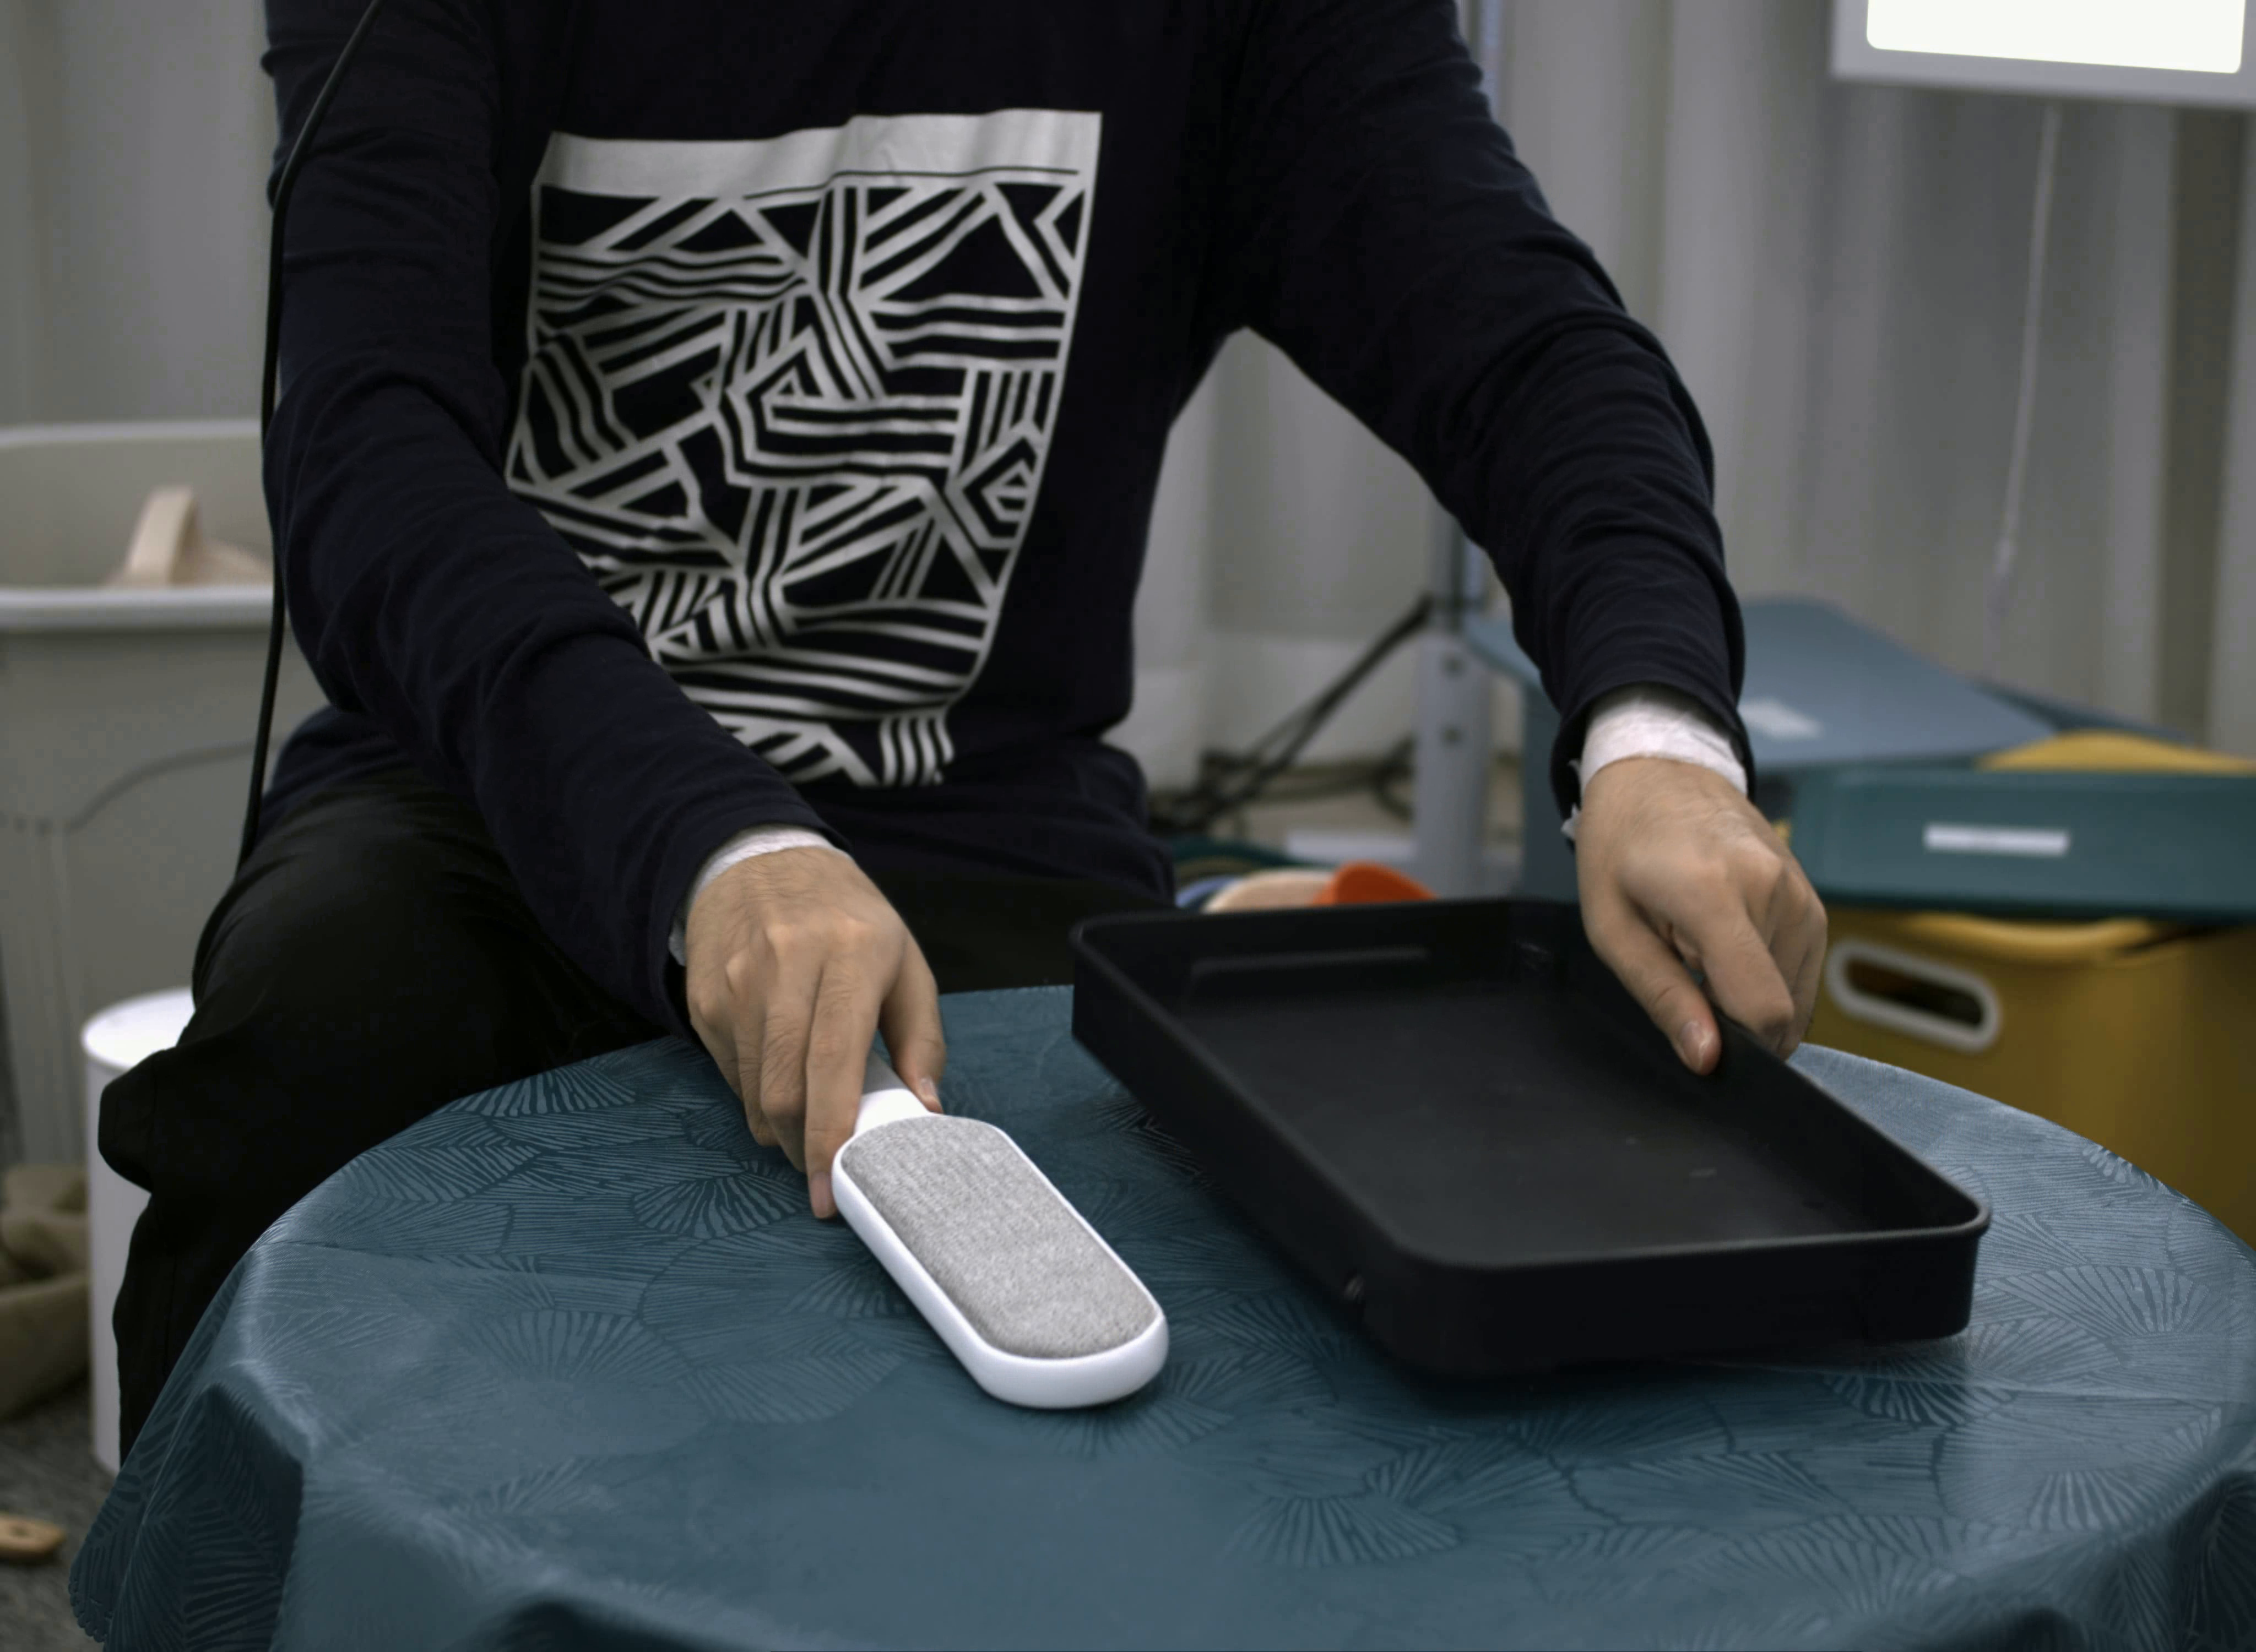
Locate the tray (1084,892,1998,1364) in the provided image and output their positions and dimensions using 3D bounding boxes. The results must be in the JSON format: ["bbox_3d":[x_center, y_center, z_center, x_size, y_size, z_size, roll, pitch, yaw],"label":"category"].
[{"bbox_3d":[0.115,0.085,1.595,0.185,0.037,0.314,0,17,-20],"label":"tray"}]

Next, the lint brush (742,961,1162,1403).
[{"bbox_3d":[-0.061,0.100,1.573,0.060,0.021,0.305,-17,25,-15],"label":"lint brush"}]
